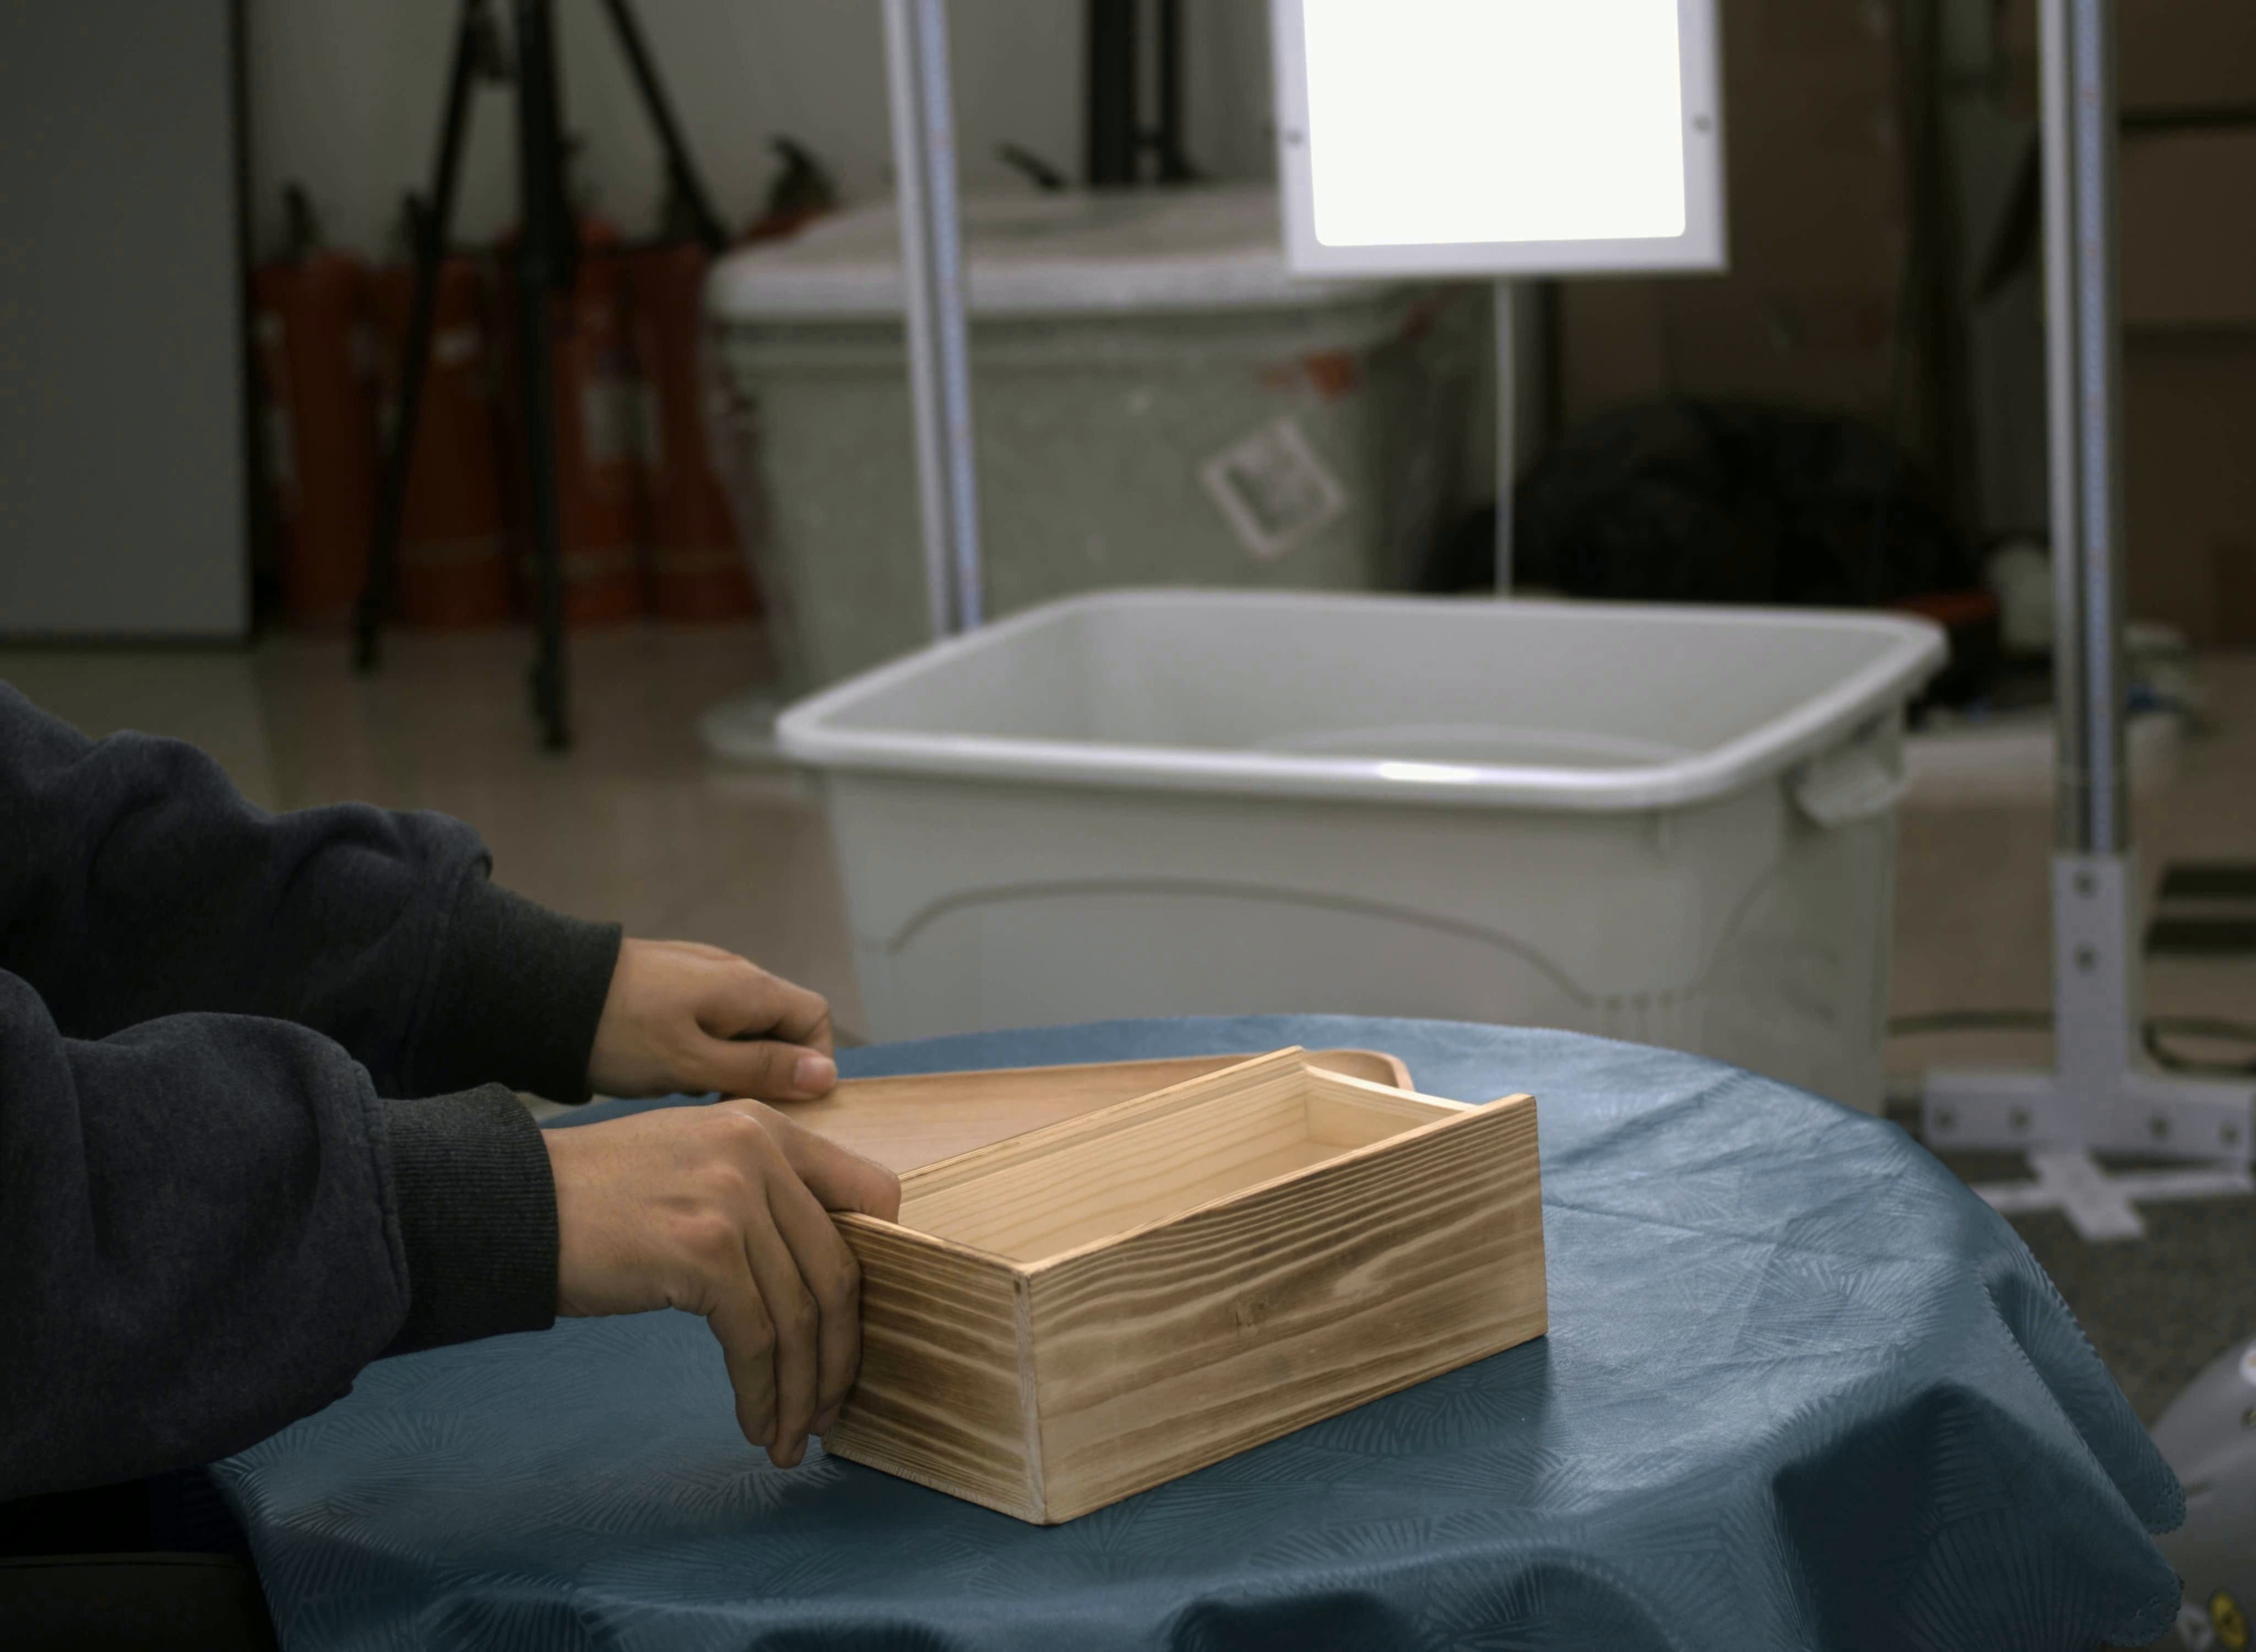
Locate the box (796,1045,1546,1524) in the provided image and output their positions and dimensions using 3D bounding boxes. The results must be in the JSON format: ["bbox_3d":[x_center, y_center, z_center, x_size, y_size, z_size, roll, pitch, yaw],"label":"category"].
[{"bbox_3d":[0.016,0.136,1.684,0.206,0.080,0.110,-16,18,-38],"label":"box"}]

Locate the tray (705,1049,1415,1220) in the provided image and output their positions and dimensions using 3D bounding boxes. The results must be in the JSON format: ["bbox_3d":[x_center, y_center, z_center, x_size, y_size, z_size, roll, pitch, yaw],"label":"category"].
[{"bbox_3d":[-0.023,0.108,1.934,0.250,0.023,0.130,-4,11,1],"label":"tray"}]
